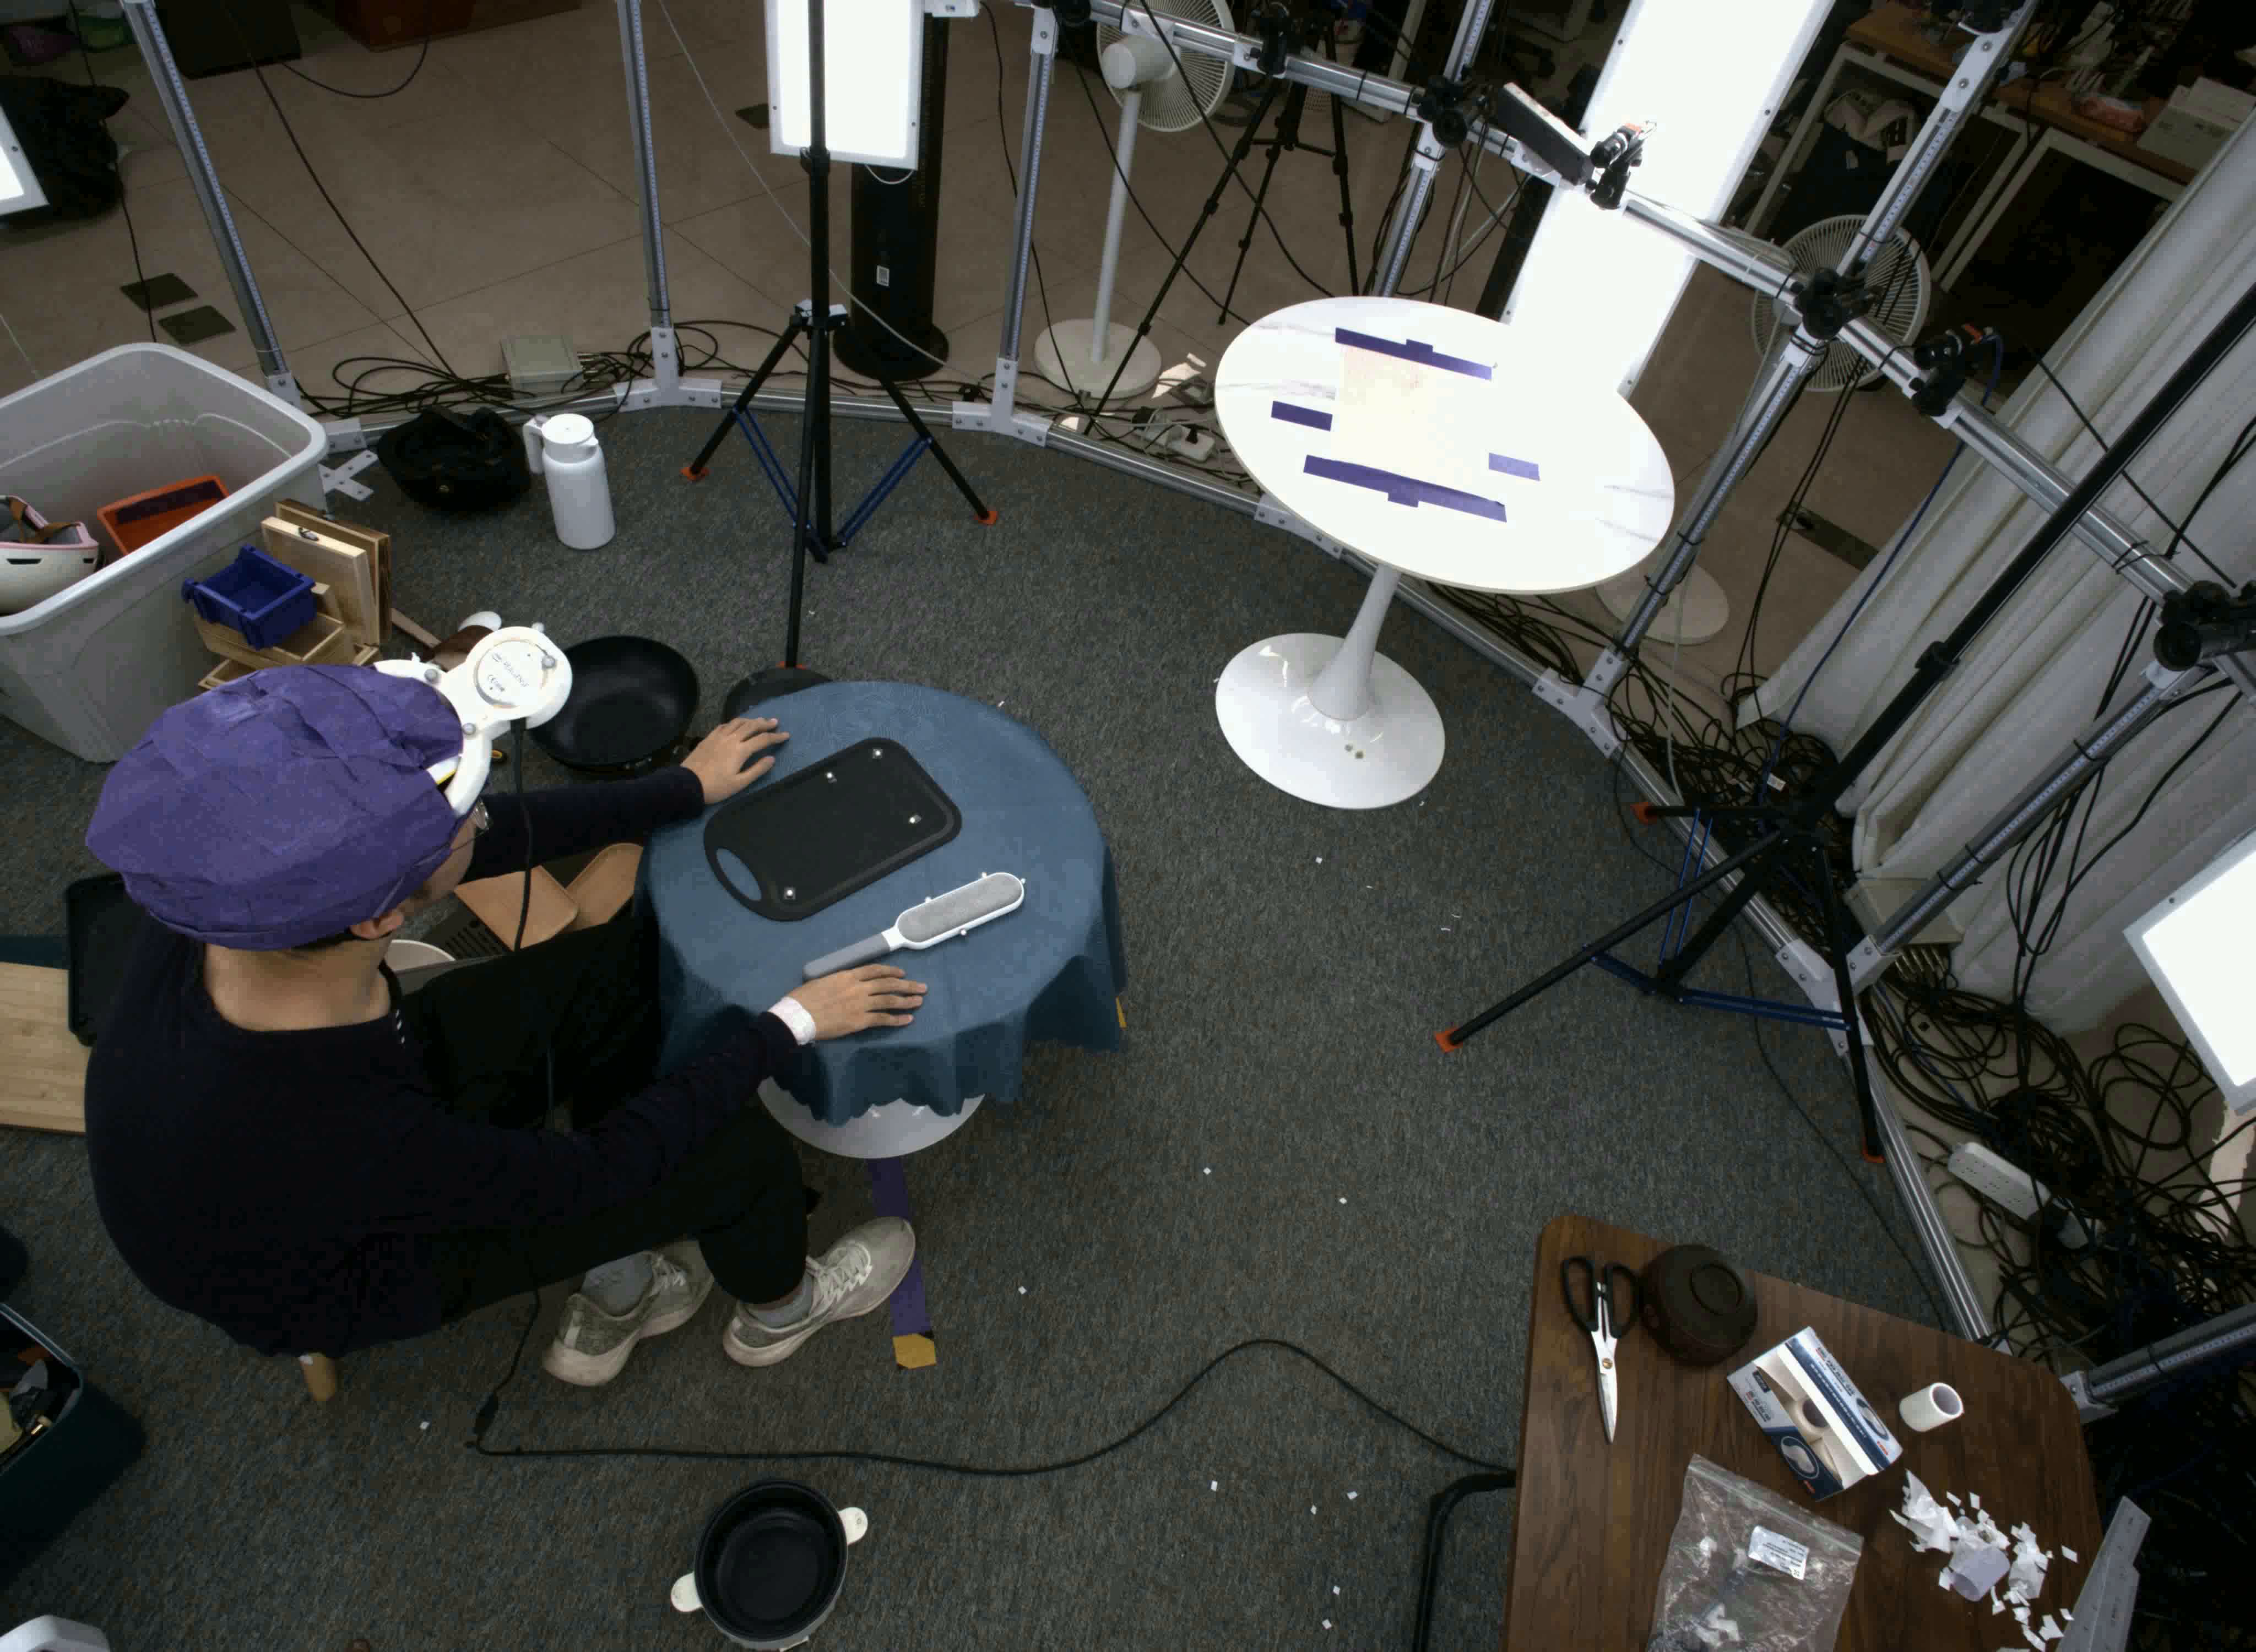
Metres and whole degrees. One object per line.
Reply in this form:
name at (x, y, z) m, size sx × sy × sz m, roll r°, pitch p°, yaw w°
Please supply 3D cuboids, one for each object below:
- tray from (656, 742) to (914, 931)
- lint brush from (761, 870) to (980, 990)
tray at (-0.457, 0.010, 1.716) m, size 0.326 × 0.010 × 0.206 m, roll -33°, pitch 67°, yaw -31°
lint brush at (-0.322, 0.130, 1.647) m, size 0.310 × 0.021 × 0.059 m, roll -26°, pitch 69°, yaw -29°
